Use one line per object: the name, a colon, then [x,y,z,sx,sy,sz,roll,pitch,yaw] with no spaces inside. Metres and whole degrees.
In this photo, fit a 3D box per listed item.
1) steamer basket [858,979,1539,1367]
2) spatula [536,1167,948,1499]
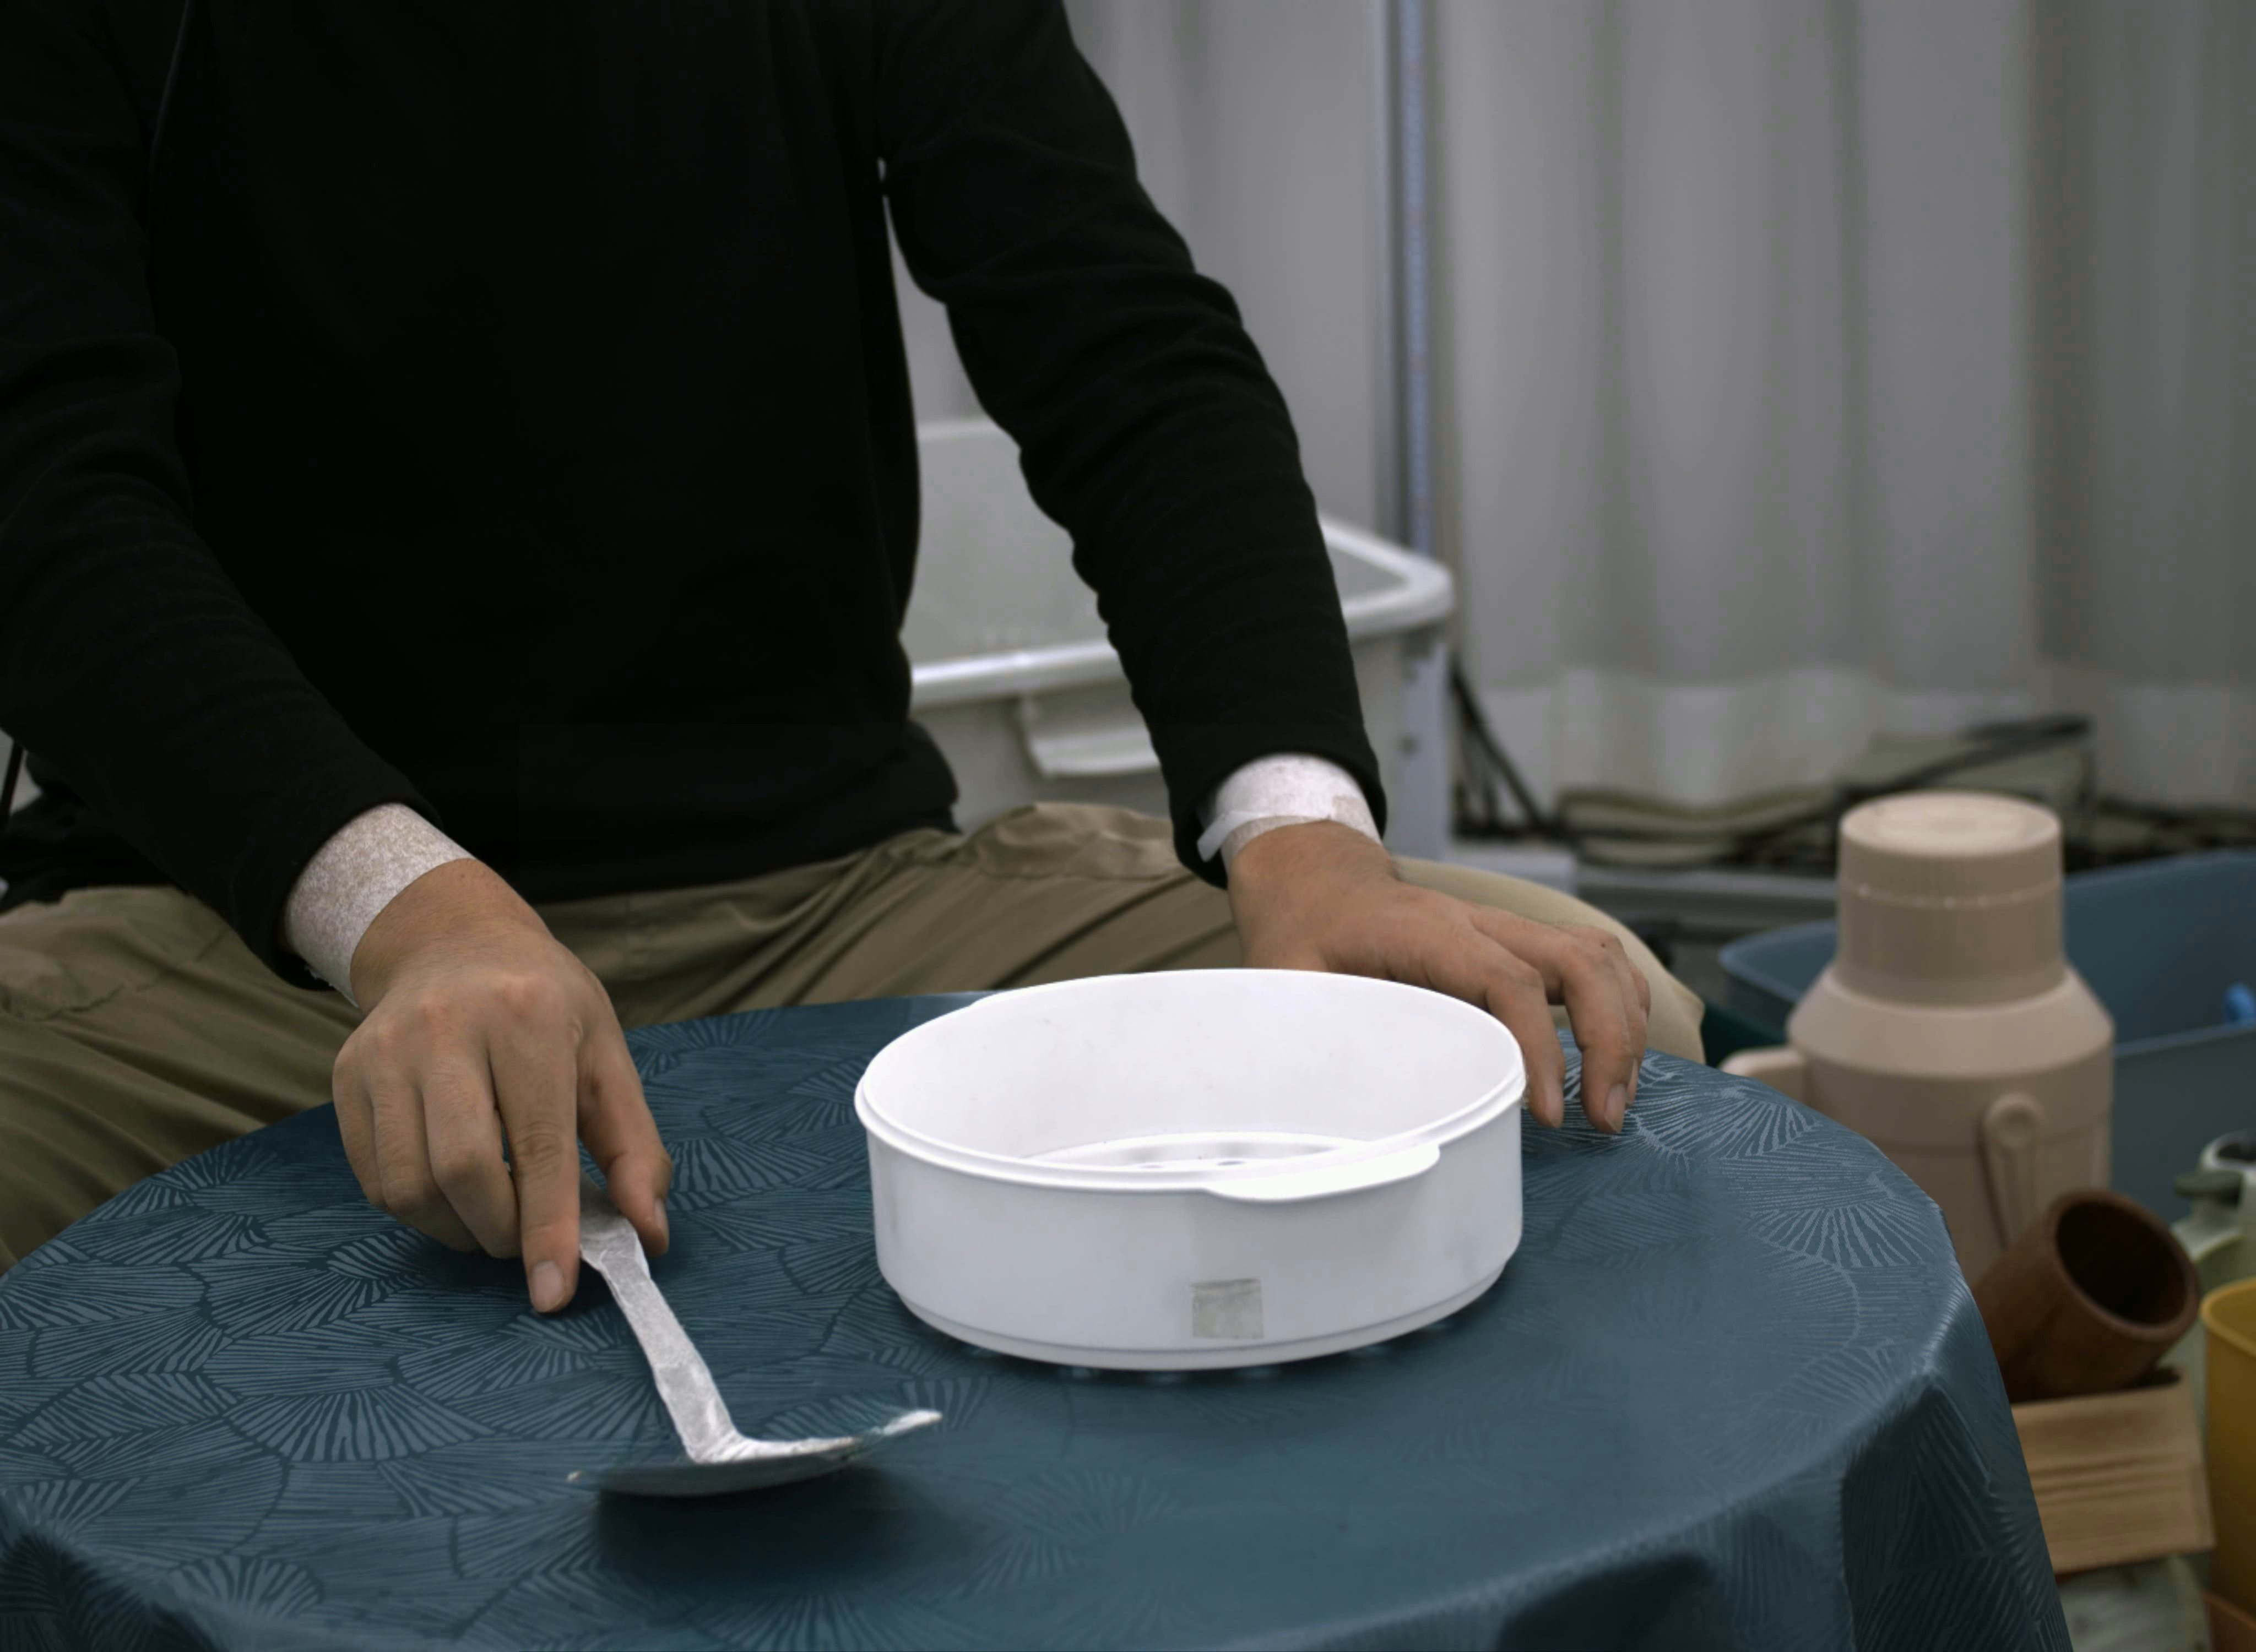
steamer basket: [0.022,0.102,1.621,0.201,0.069,0.232,-7,14,-20]
spatula: [-0.136,0.137,1.583,0.098,0.044,0.368,-8,16,-14]
